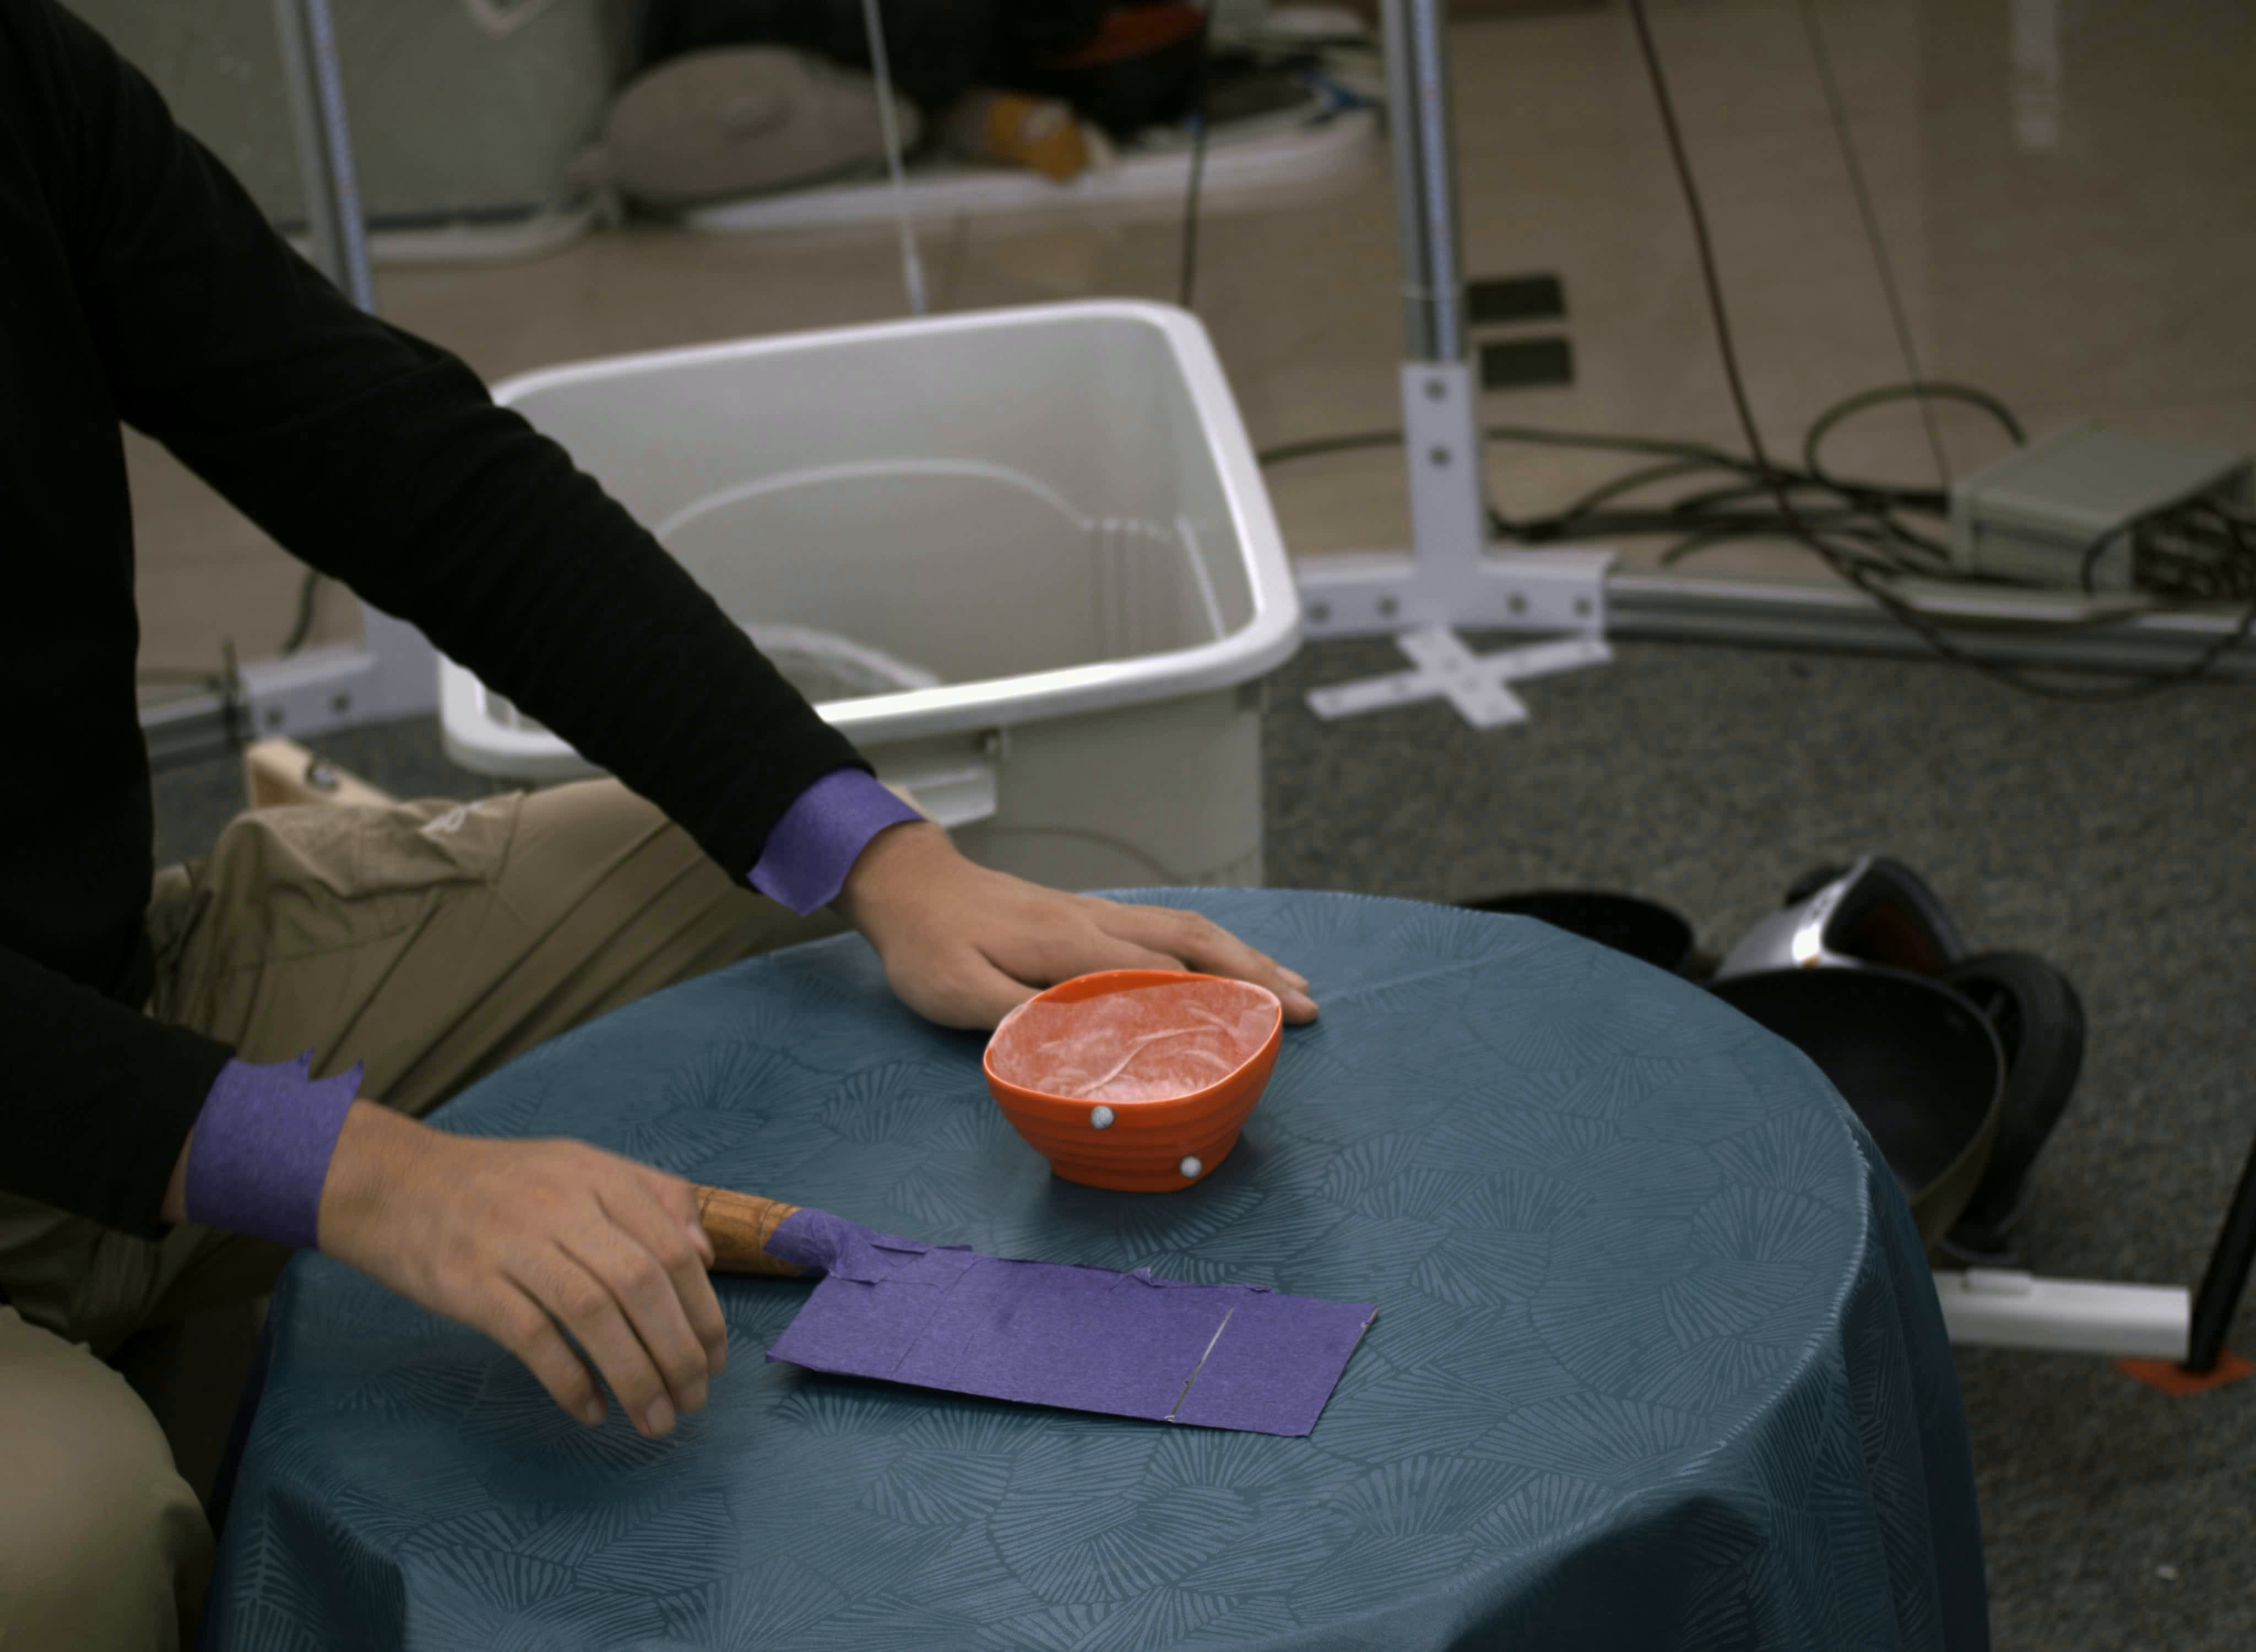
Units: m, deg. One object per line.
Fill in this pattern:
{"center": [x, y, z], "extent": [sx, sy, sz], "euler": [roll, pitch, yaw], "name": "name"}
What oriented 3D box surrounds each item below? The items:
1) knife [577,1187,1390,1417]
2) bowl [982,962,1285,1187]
{"center": [-0.067, 0.173, 2.063], "extent": [0.314, 0.033, 0.102], "euler": [4, 26, 20], "name": "knife"}
{"center": [0.004, 0.099, 2.167], "extent": [0.119, 0.052, 0.117], "euler": [-4, 26, 2], "name": "bowl"}
